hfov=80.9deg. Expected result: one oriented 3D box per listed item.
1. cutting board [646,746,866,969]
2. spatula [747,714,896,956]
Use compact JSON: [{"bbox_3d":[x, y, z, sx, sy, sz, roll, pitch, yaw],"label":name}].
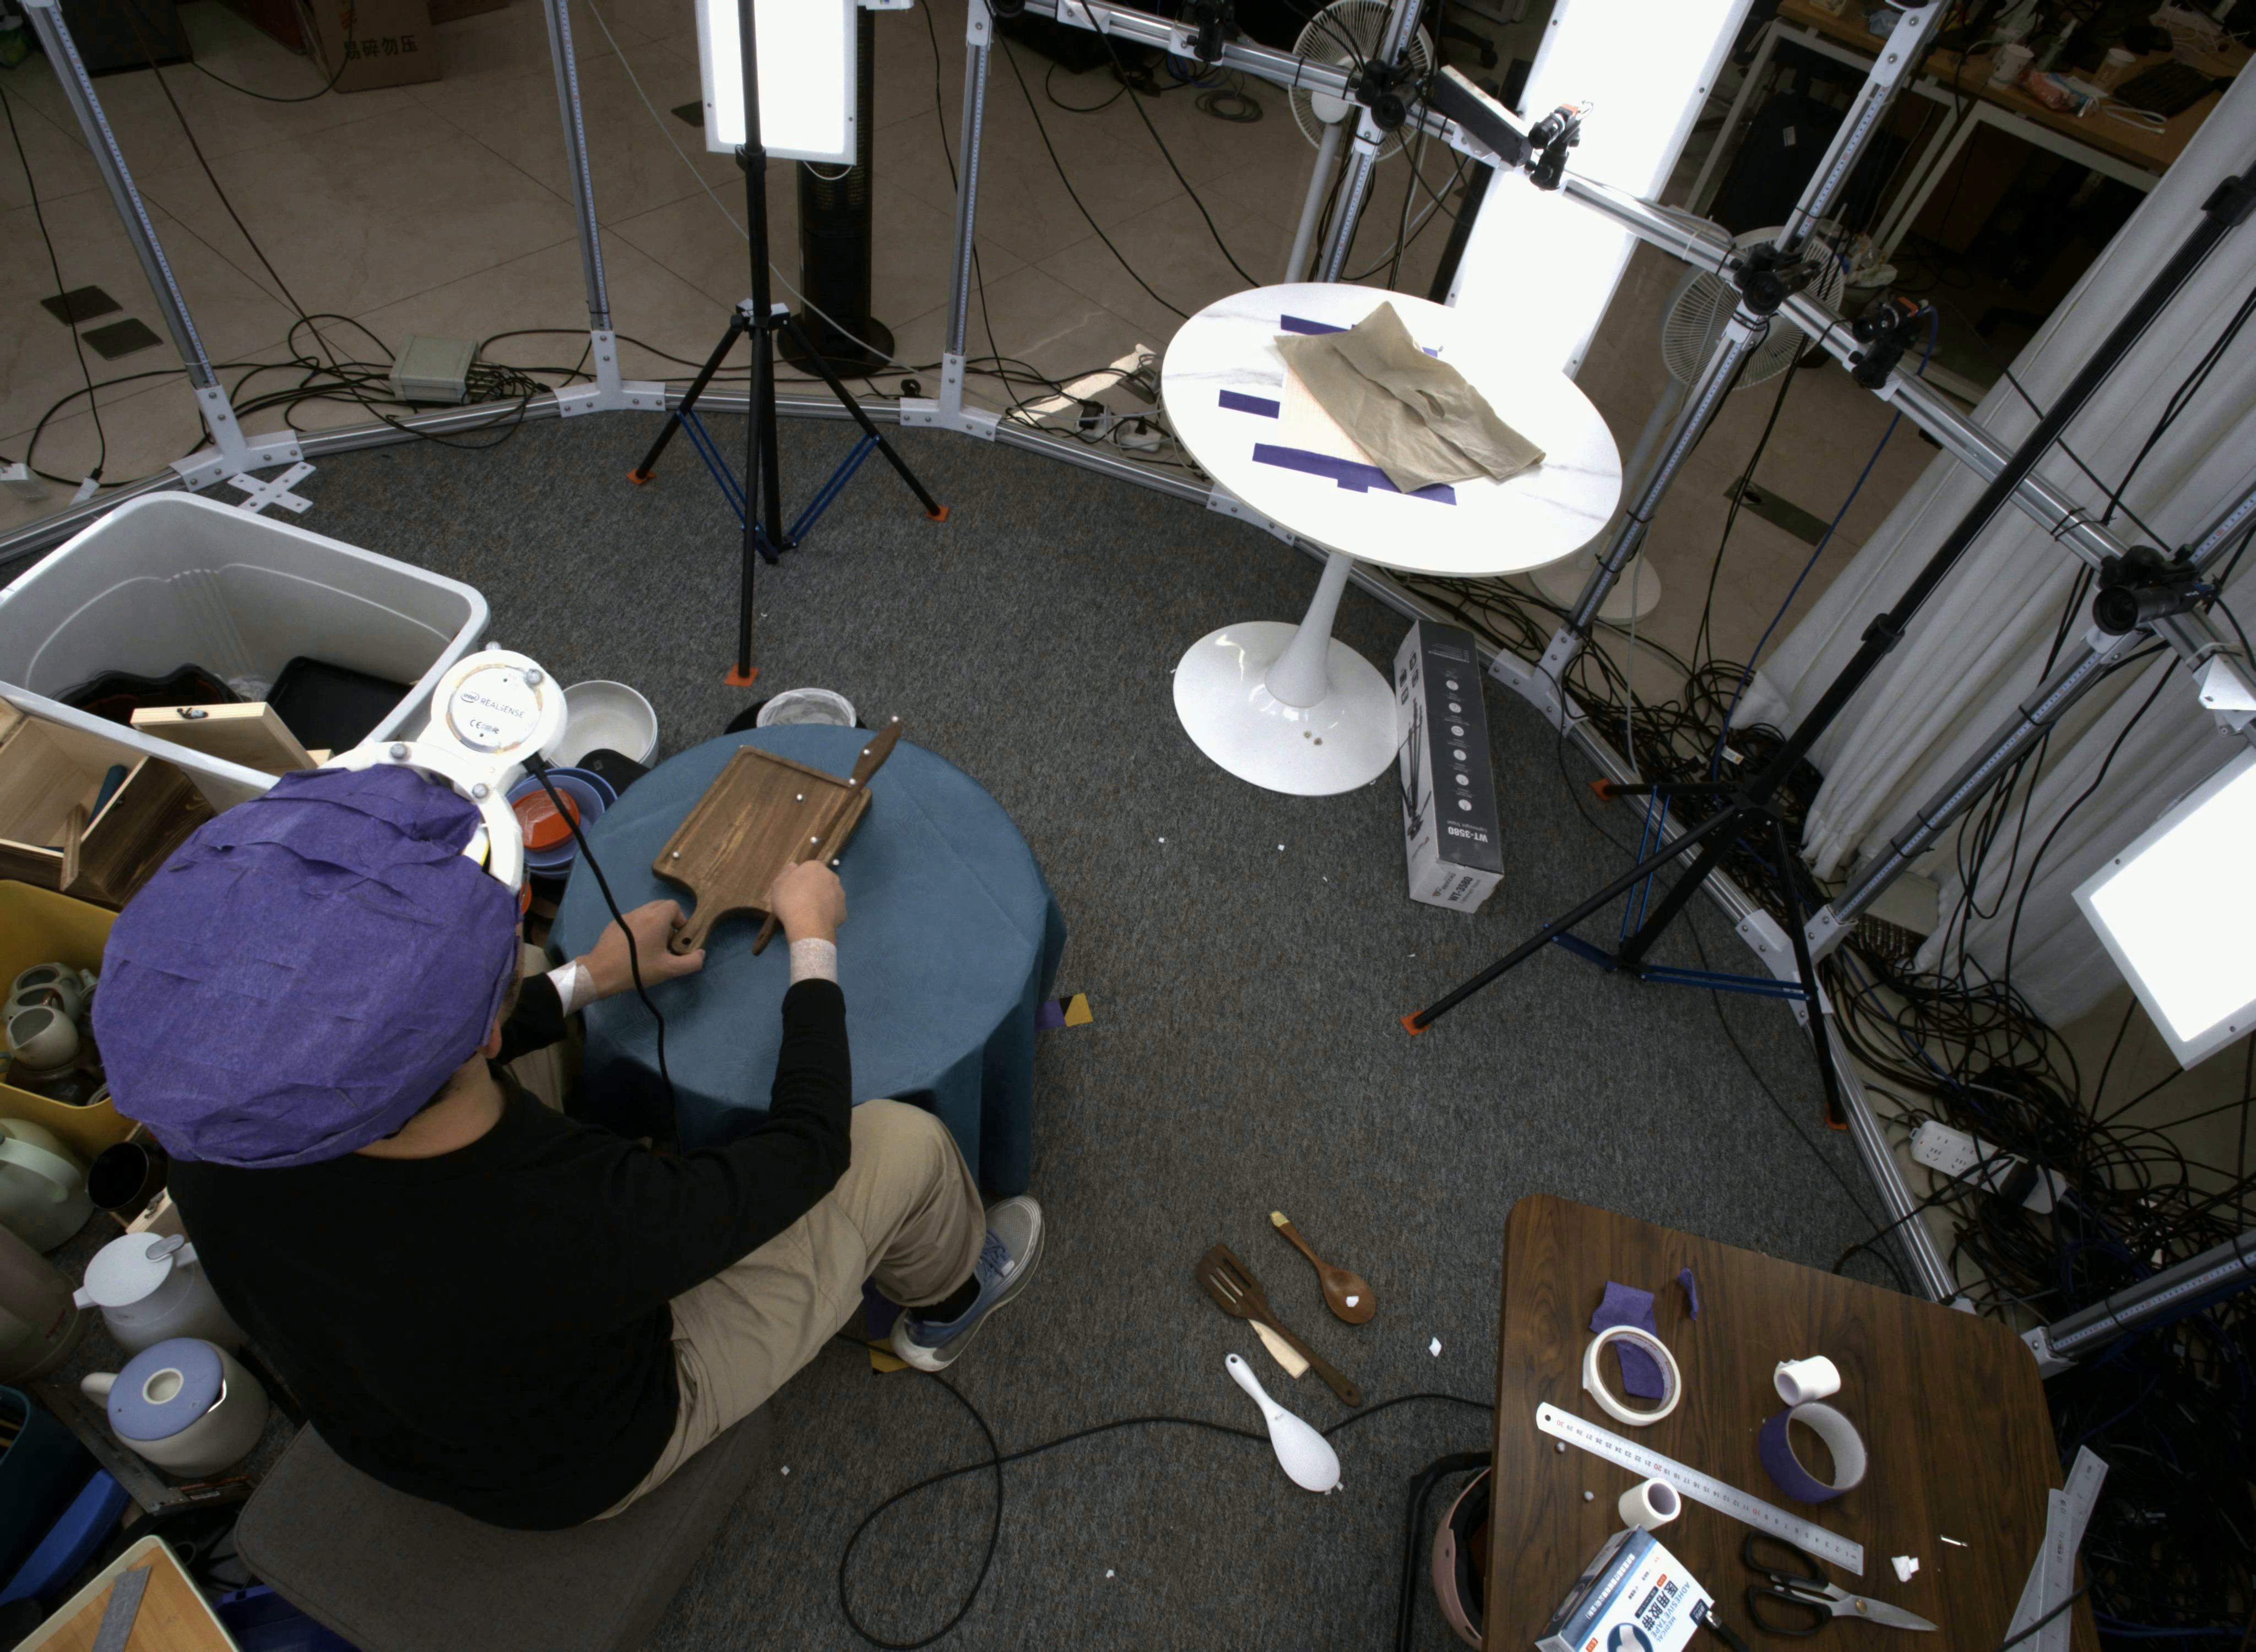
[{"bbox_3d":[-0.489,0.040,1.640,0.199,0.024,0.348,20,47,1],"label":"cutting board"},{"bbox_3d":[-0.363,0.004,1.537,0.016,0.095,0.381,41,44,-20],"label":"spatula"}]
